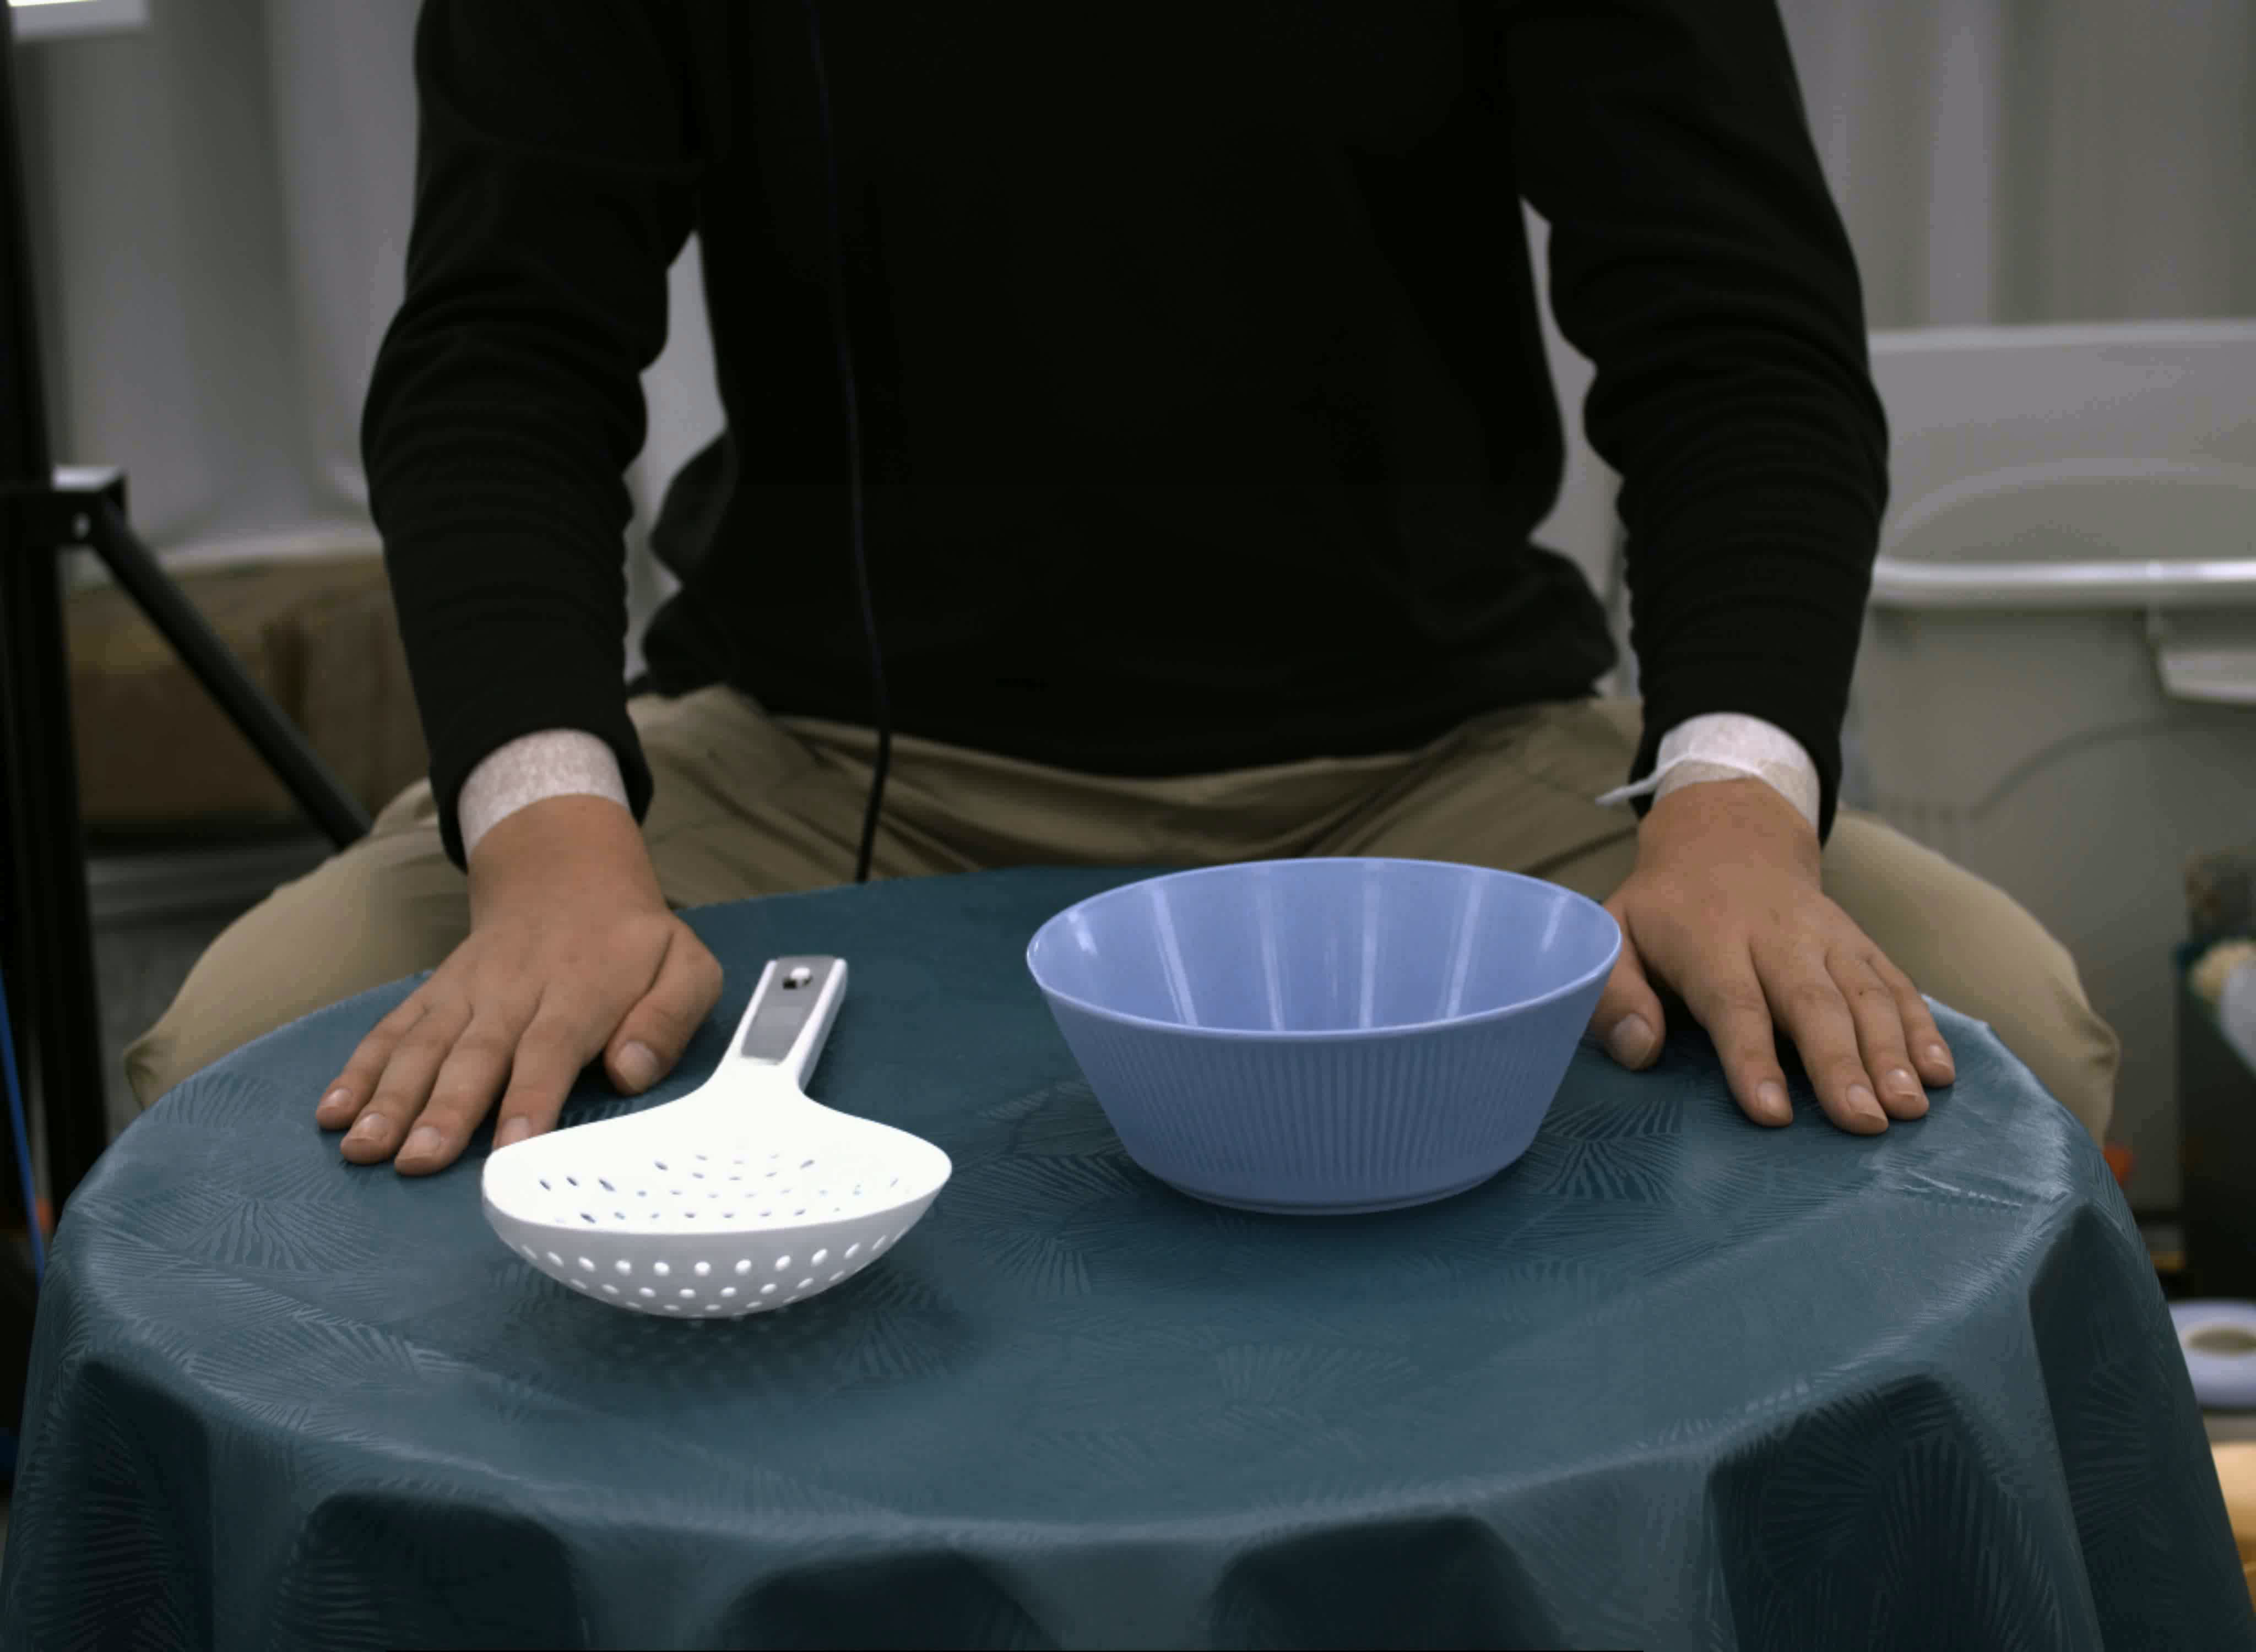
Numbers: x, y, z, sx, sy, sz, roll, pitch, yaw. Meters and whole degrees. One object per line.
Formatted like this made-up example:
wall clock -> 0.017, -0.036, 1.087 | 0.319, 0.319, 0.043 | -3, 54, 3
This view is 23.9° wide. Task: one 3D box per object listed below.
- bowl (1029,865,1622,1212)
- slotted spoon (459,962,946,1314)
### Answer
bowl -> 0.059, 0.065, 1.572 | 0.175, 0.070, 0.177 | -3, 14, -1
slotted spoon -> -0.114, 0.083, 1.581 | 0.136, 0.046, 0.350 | -2, 15, 3
